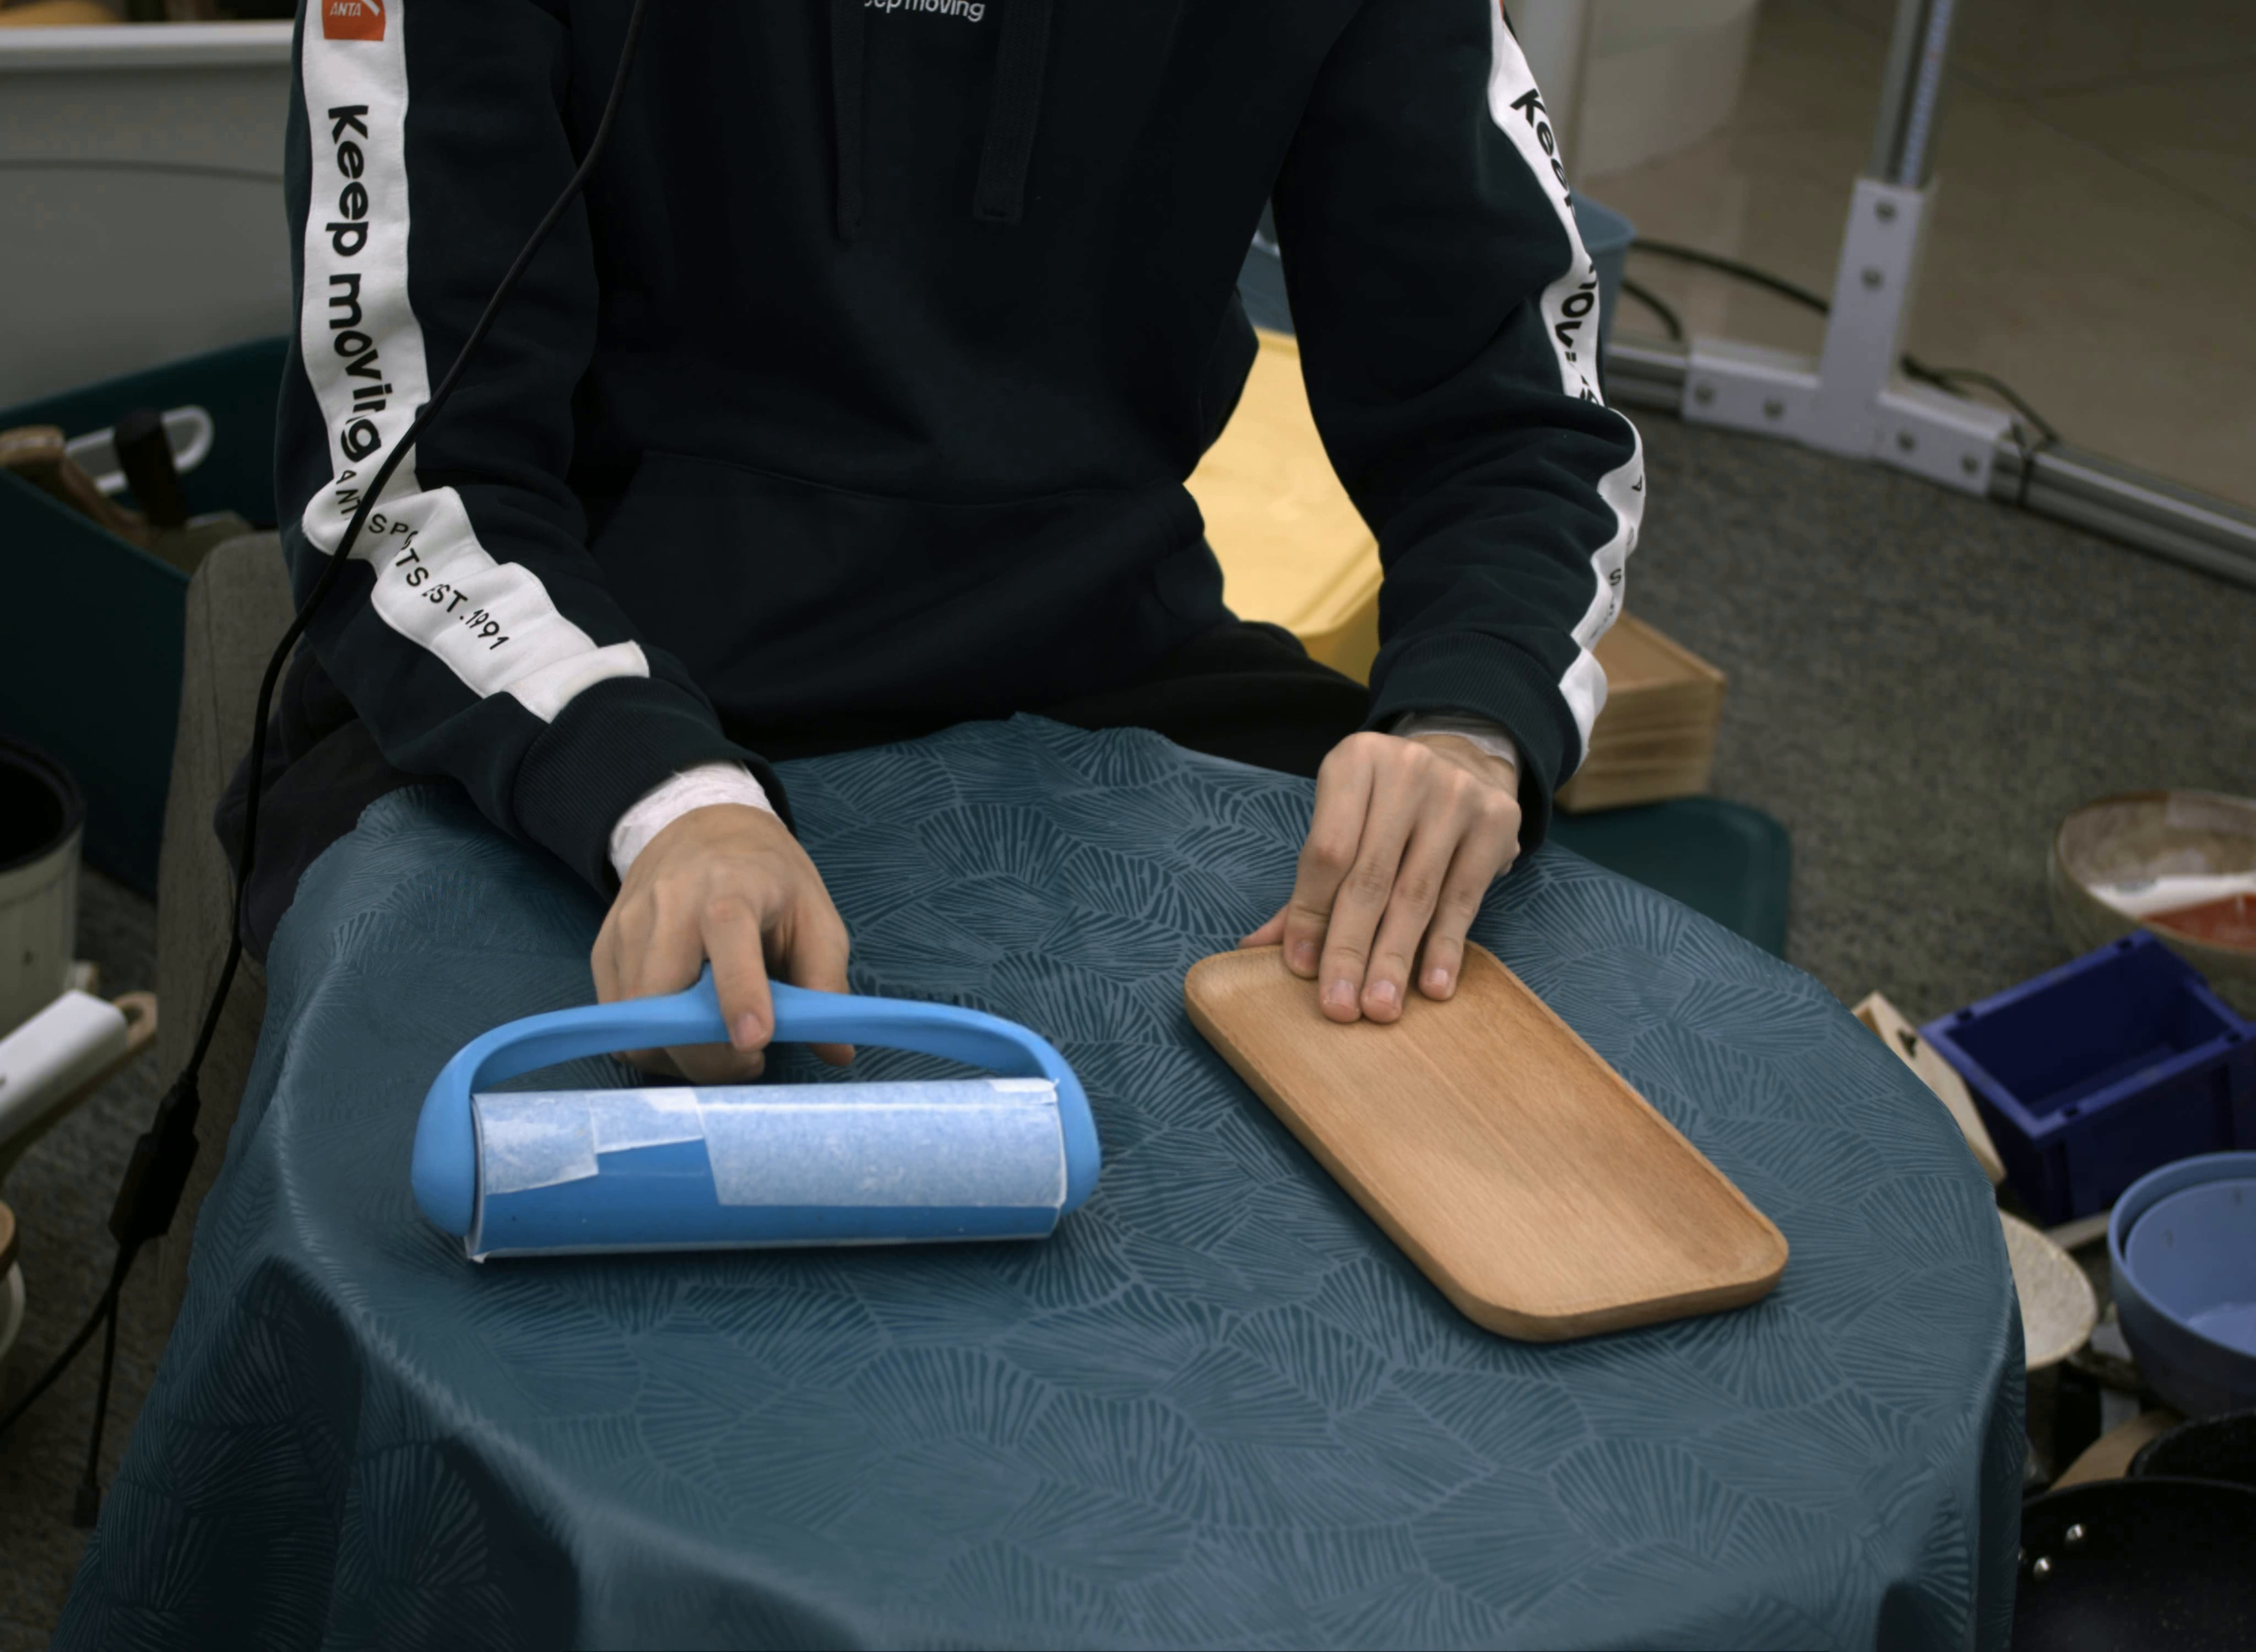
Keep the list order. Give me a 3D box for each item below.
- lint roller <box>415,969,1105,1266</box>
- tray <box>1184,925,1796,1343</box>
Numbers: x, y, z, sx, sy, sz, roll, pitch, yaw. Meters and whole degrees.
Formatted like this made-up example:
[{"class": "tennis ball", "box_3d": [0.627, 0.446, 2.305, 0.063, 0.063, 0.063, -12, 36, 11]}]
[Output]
[{"class": "lint roller", "box_3d": [-0.135, 0.083, 1.786, 0.227, 0.067, 0.182, -4, 30, -16]}, {"class": "tray", "box_3d": [0.121, 0.104, 1.845, 0.129, 0.023, 0.253, -5, 29, -26]}]
